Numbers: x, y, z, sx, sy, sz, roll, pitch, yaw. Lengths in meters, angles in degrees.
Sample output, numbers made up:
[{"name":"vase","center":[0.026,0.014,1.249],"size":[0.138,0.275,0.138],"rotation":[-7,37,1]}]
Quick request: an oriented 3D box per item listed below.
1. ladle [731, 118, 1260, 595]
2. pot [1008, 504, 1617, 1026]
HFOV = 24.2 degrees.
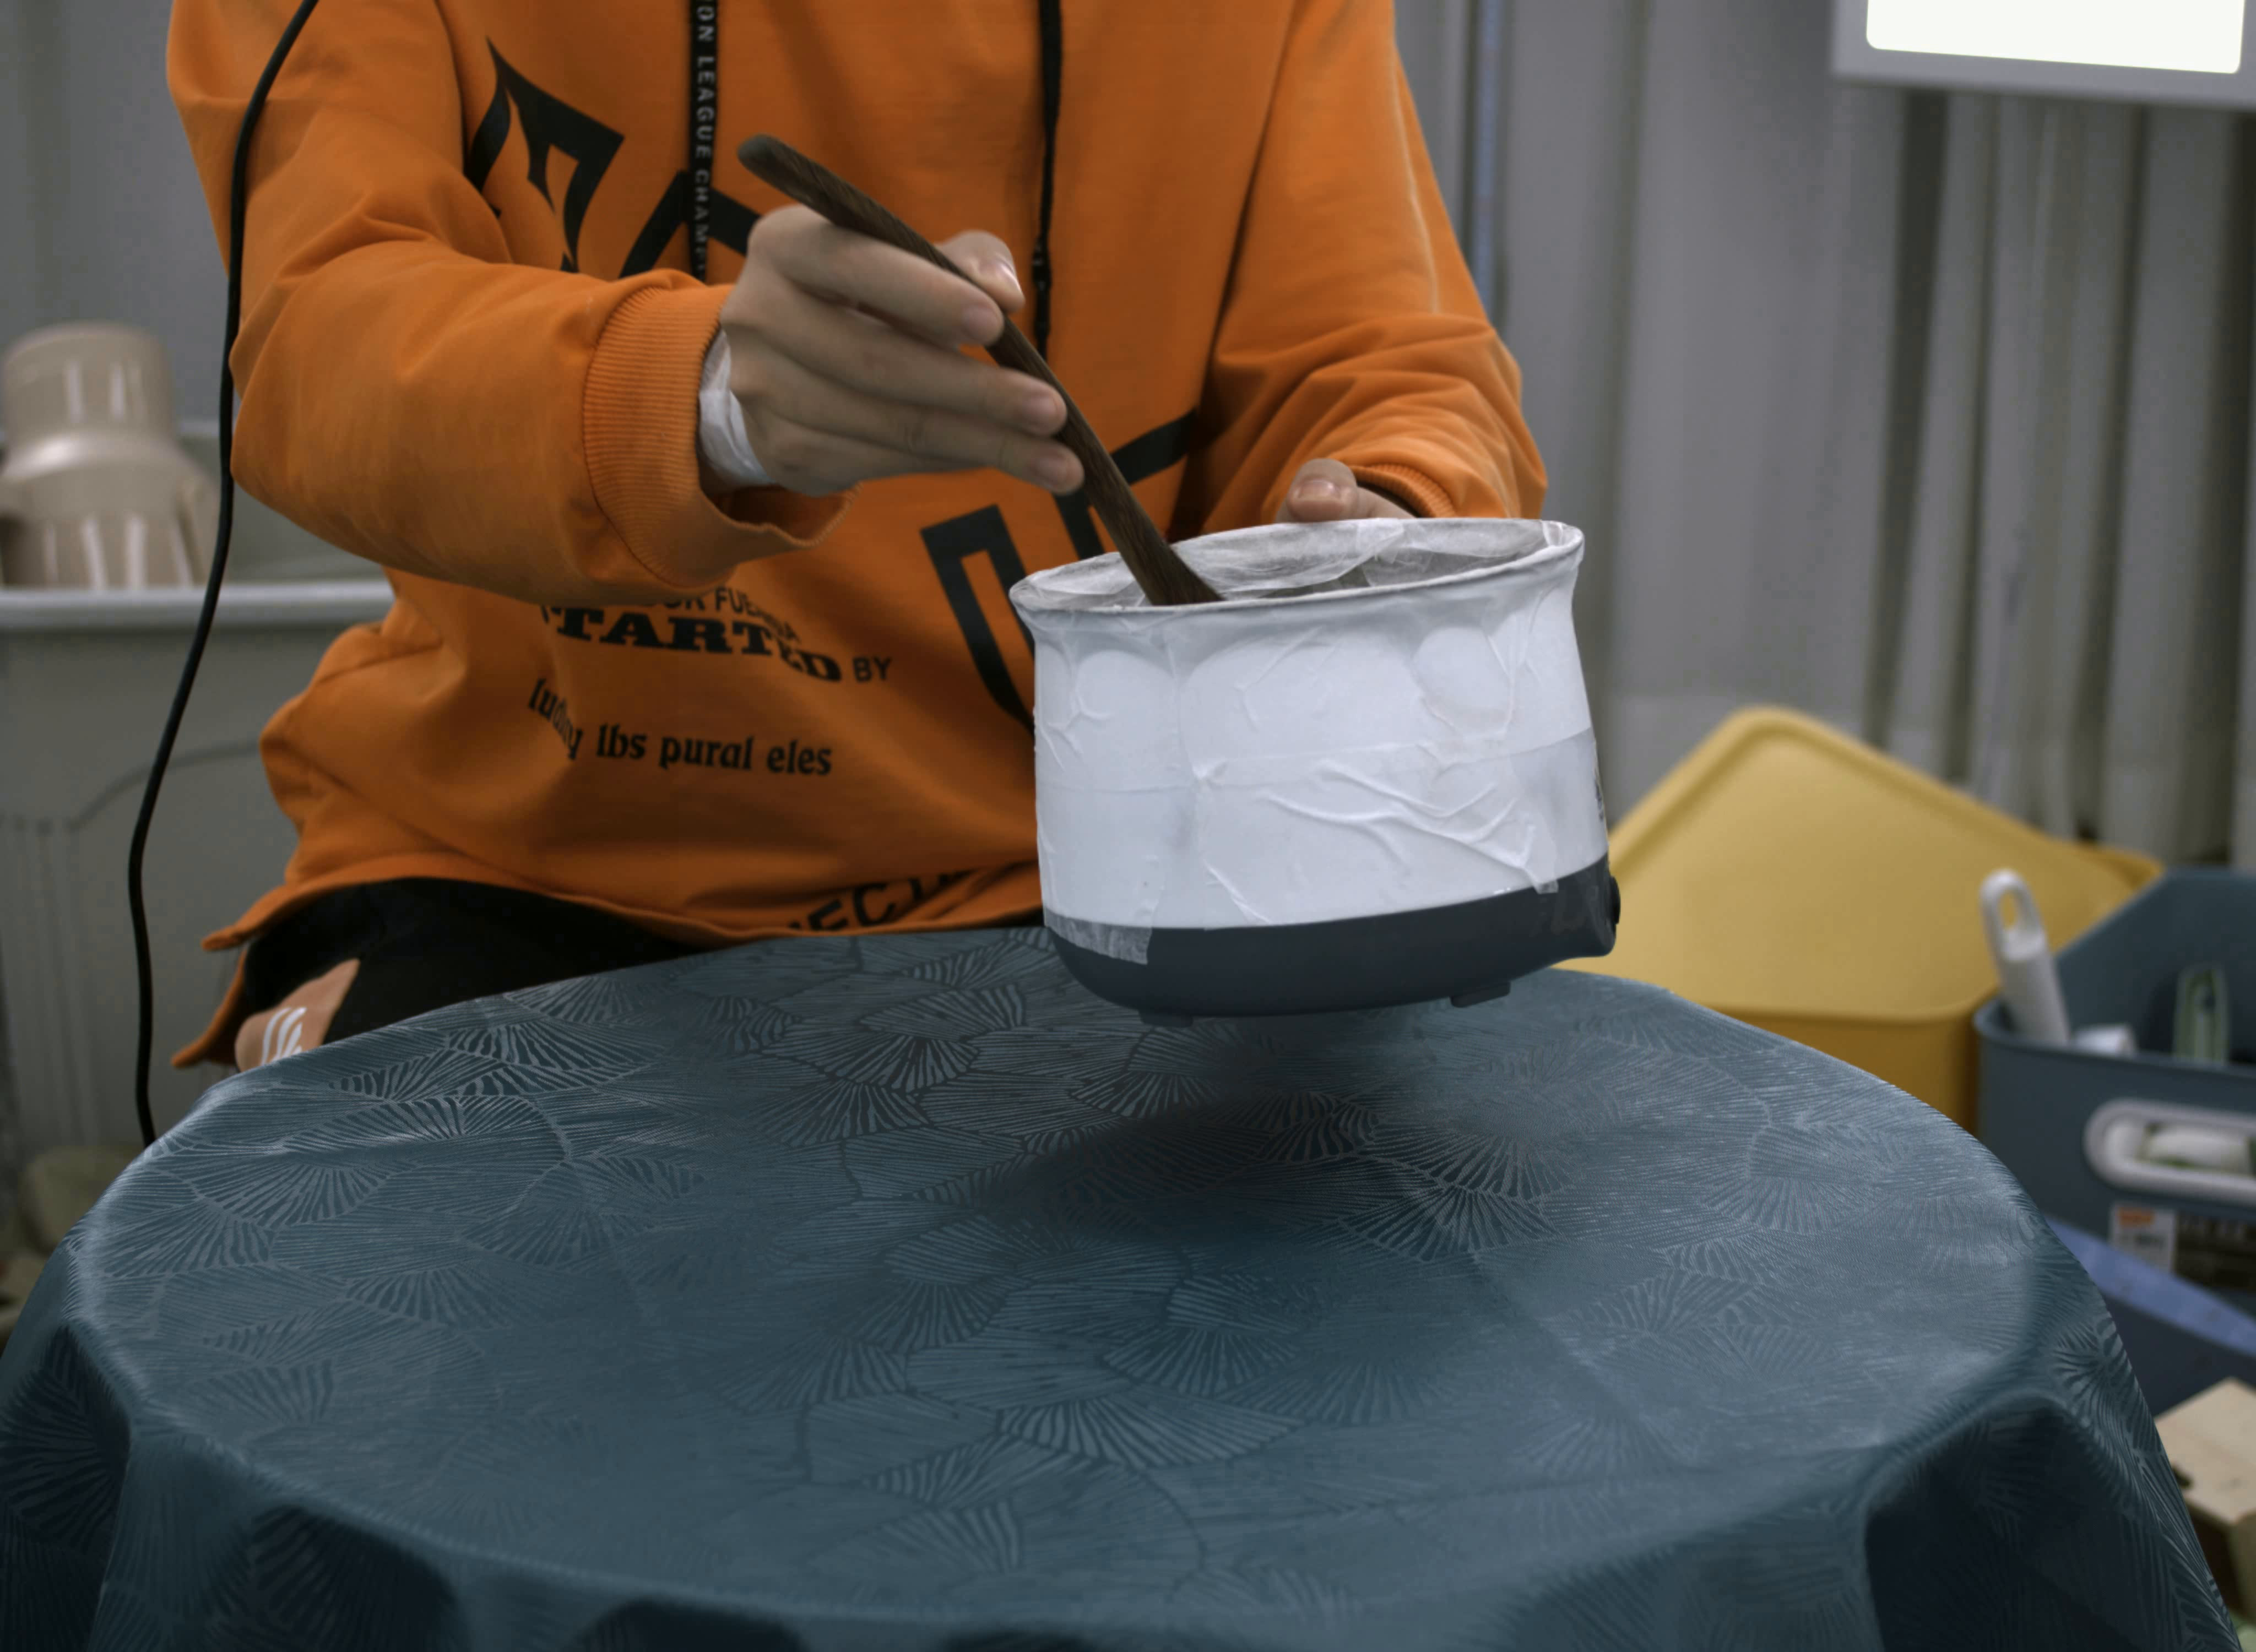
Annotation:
[{"name":"ladle","center":[-0.005,-0.132,1.585],"size":[0.071,0.277,0.075],"rotation":[-50,22,-20]},{"name":"pot","center":[0.060,-0.024,1.643],"size":[0.178,0.137,0.233],"rotation":[-4,10,5]}]
